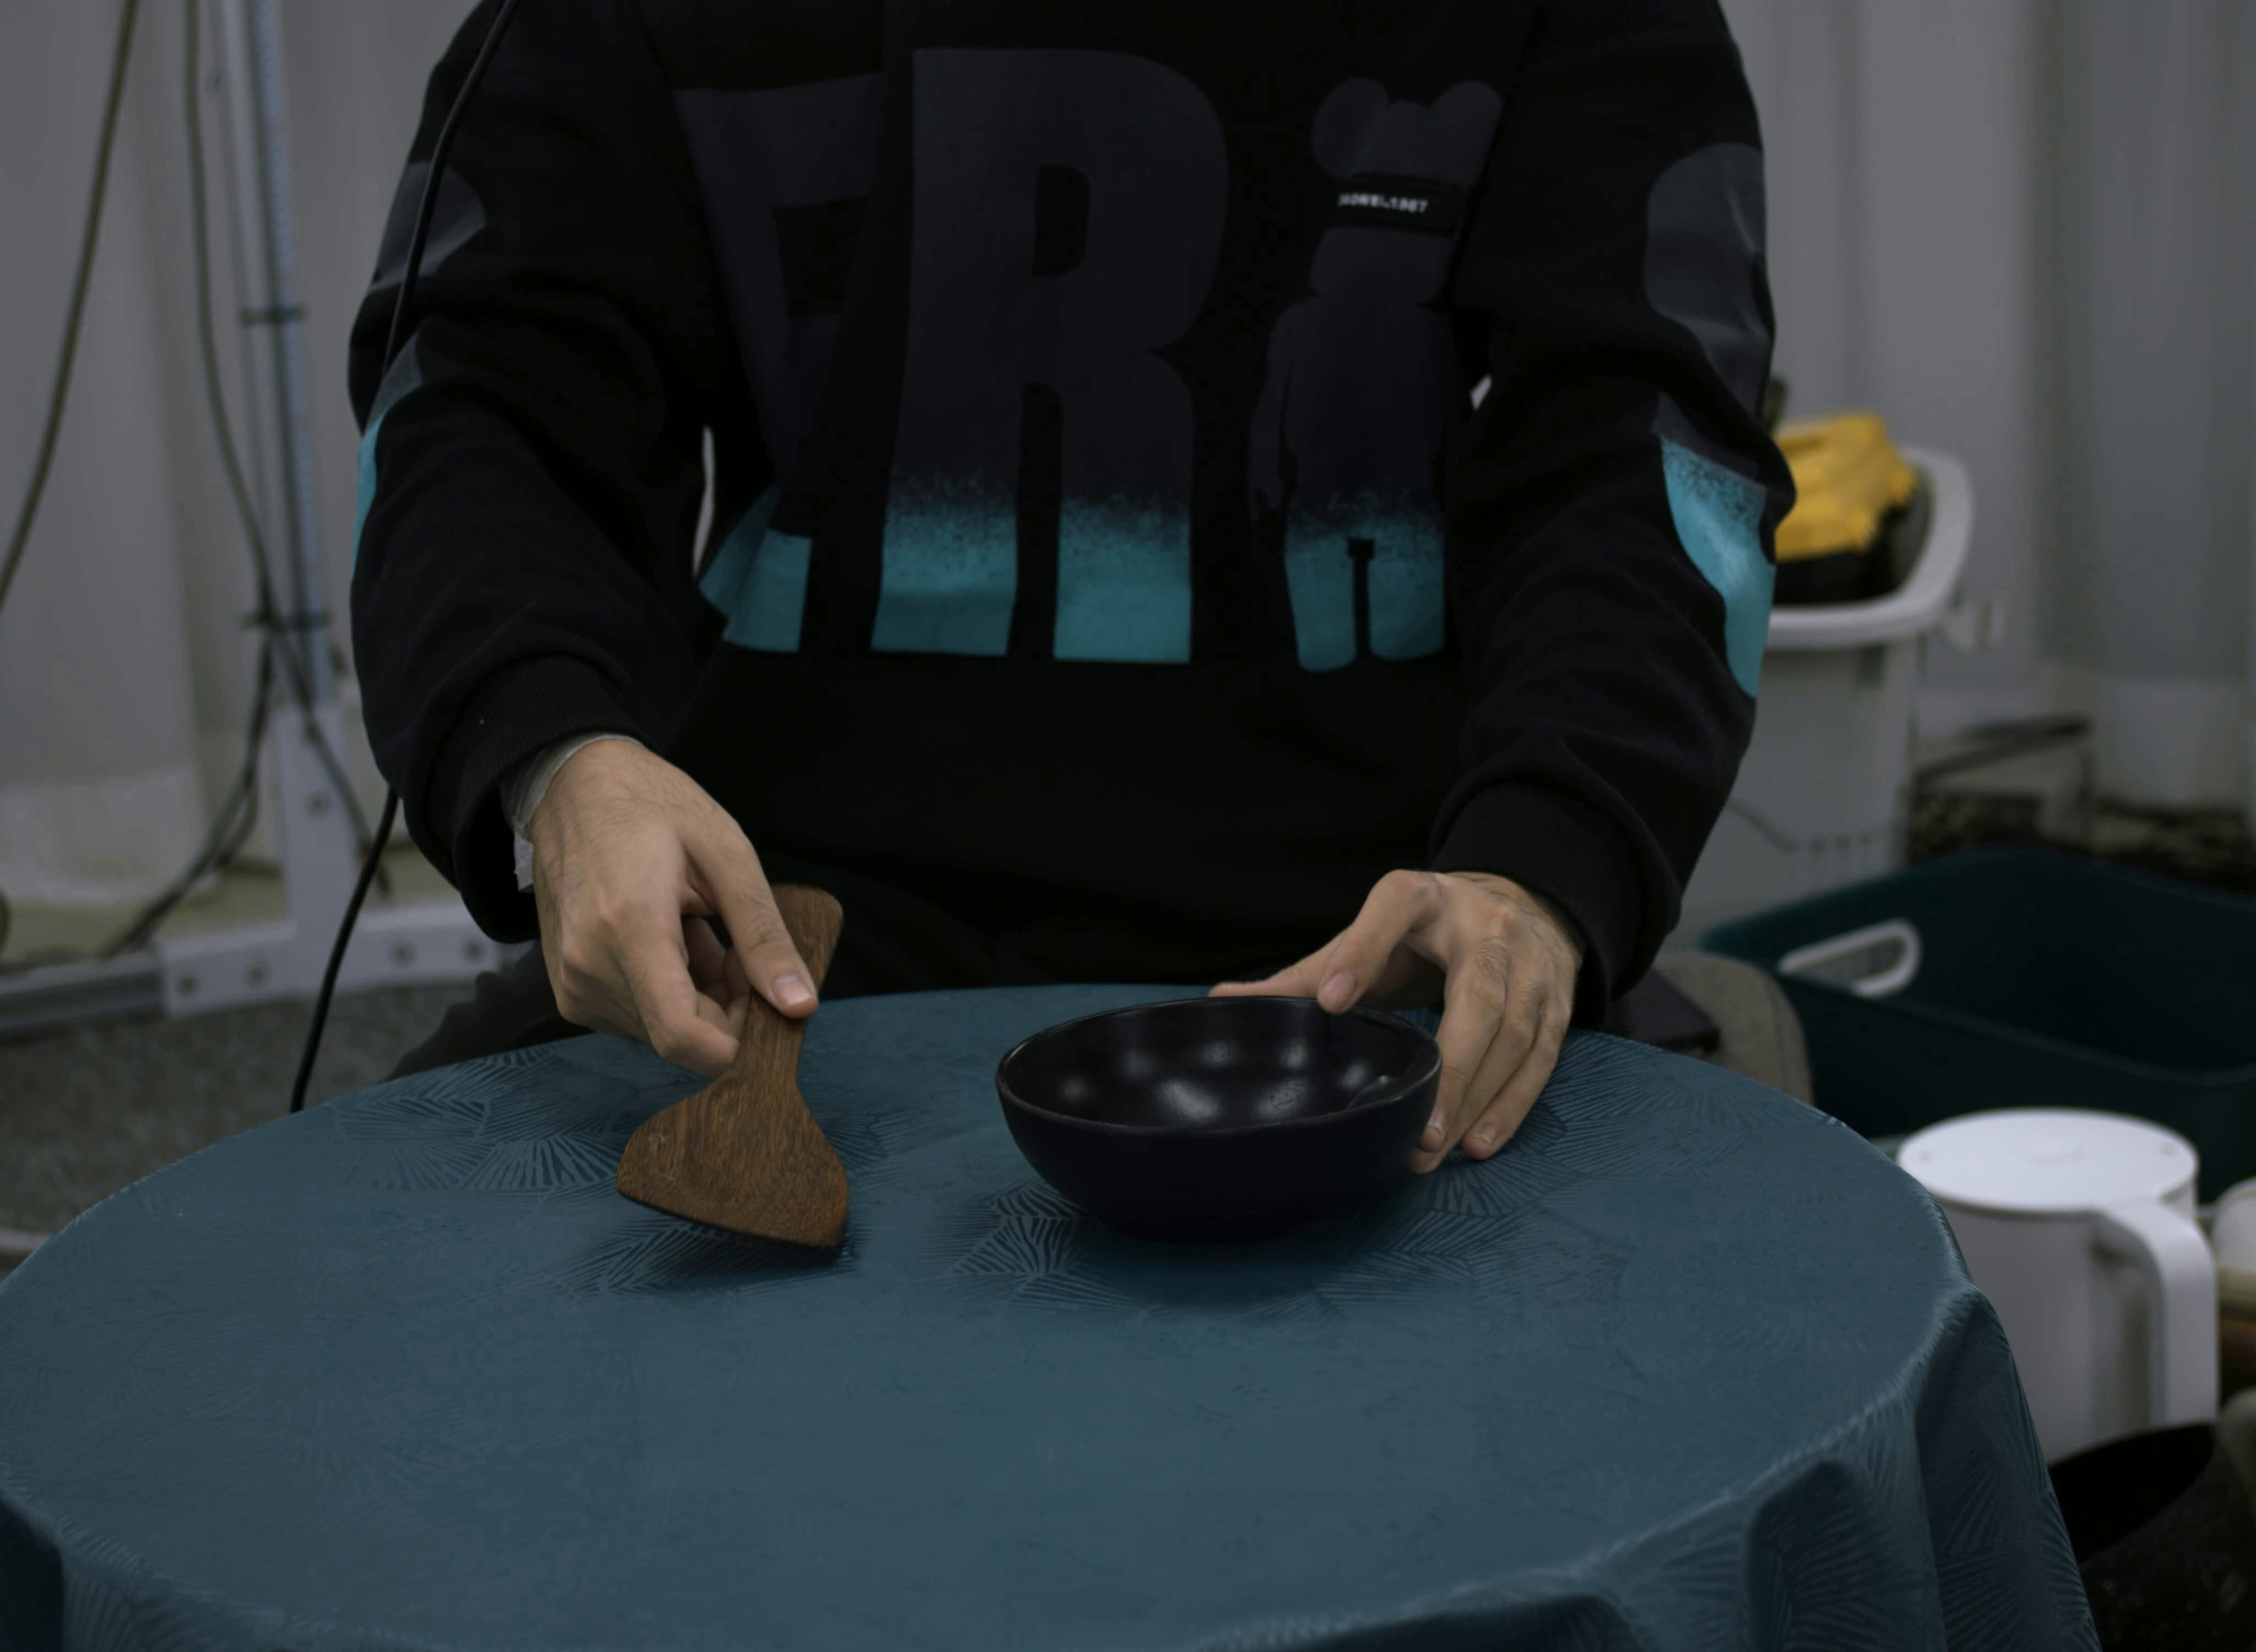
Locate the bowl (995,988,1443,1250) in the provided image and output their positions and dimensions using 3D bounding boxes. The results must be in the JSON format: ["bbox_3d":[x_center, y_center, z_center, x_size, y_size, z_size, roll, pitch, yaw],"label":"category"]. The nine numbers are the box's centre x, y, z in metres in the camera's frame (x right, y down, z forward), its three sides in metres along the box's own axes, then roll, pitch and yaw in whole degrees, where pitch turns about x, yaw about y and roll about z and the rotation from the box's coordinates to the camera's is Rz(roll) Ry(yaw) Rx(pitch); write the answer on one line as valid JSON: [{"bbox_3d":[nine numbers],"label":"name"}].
[{"bbox_3d":[0.030,0.095,1.686,0.139,0.049,0.141,-6,16,1],"label":"bowl"}]

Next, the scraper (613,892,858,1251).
[{"bbox_3d":[-0.114,0.075,1.745,0.075,0.011,0.213,16,28,-3],"label":"scraper"}]
